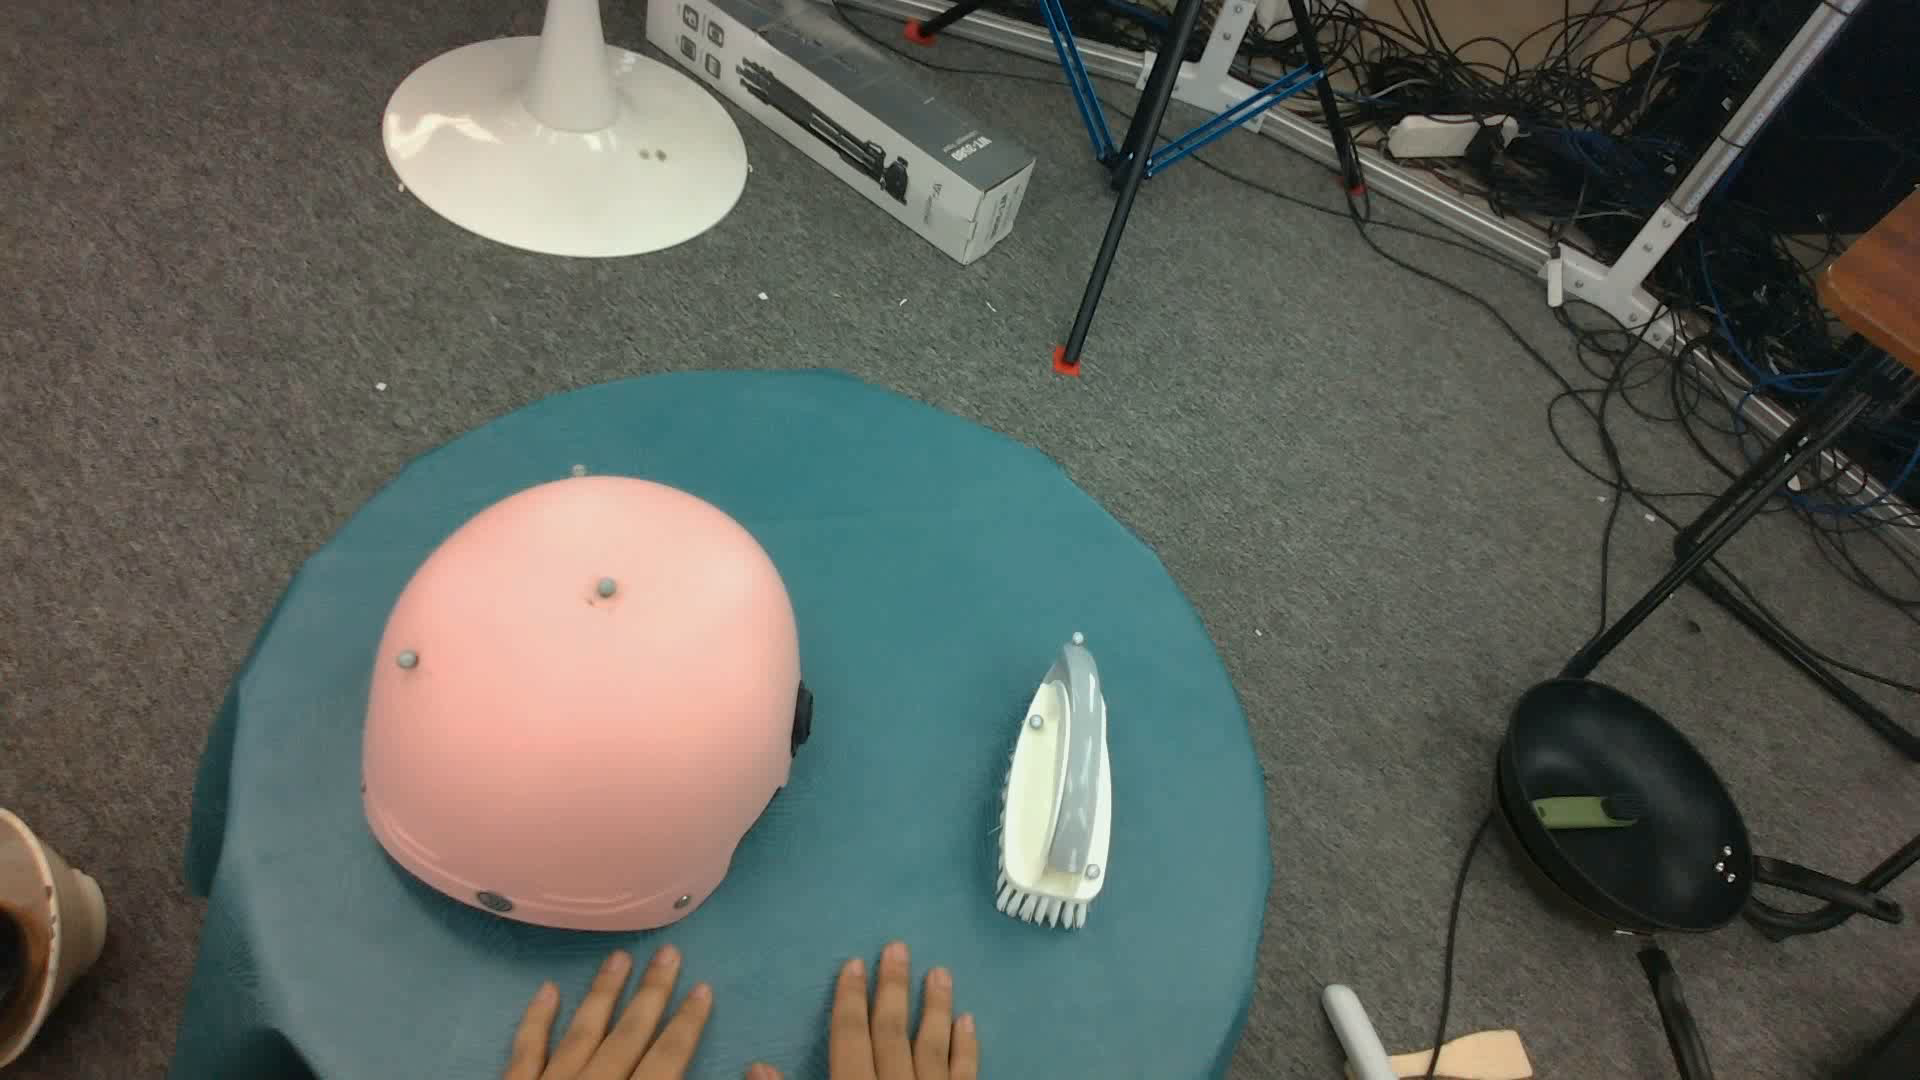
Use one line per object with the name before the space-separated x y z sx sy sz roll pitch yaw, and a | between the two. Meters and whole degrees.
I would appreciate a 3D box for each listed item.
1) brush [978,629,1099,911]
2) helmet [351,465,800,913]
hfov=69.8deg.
brush | 0.053 0.115 0.798 0.061 0.093 0.176 15 48 -8
helmet | -0.195 0.051 0.730 0.234 0.158 0.267 19 45 -2
